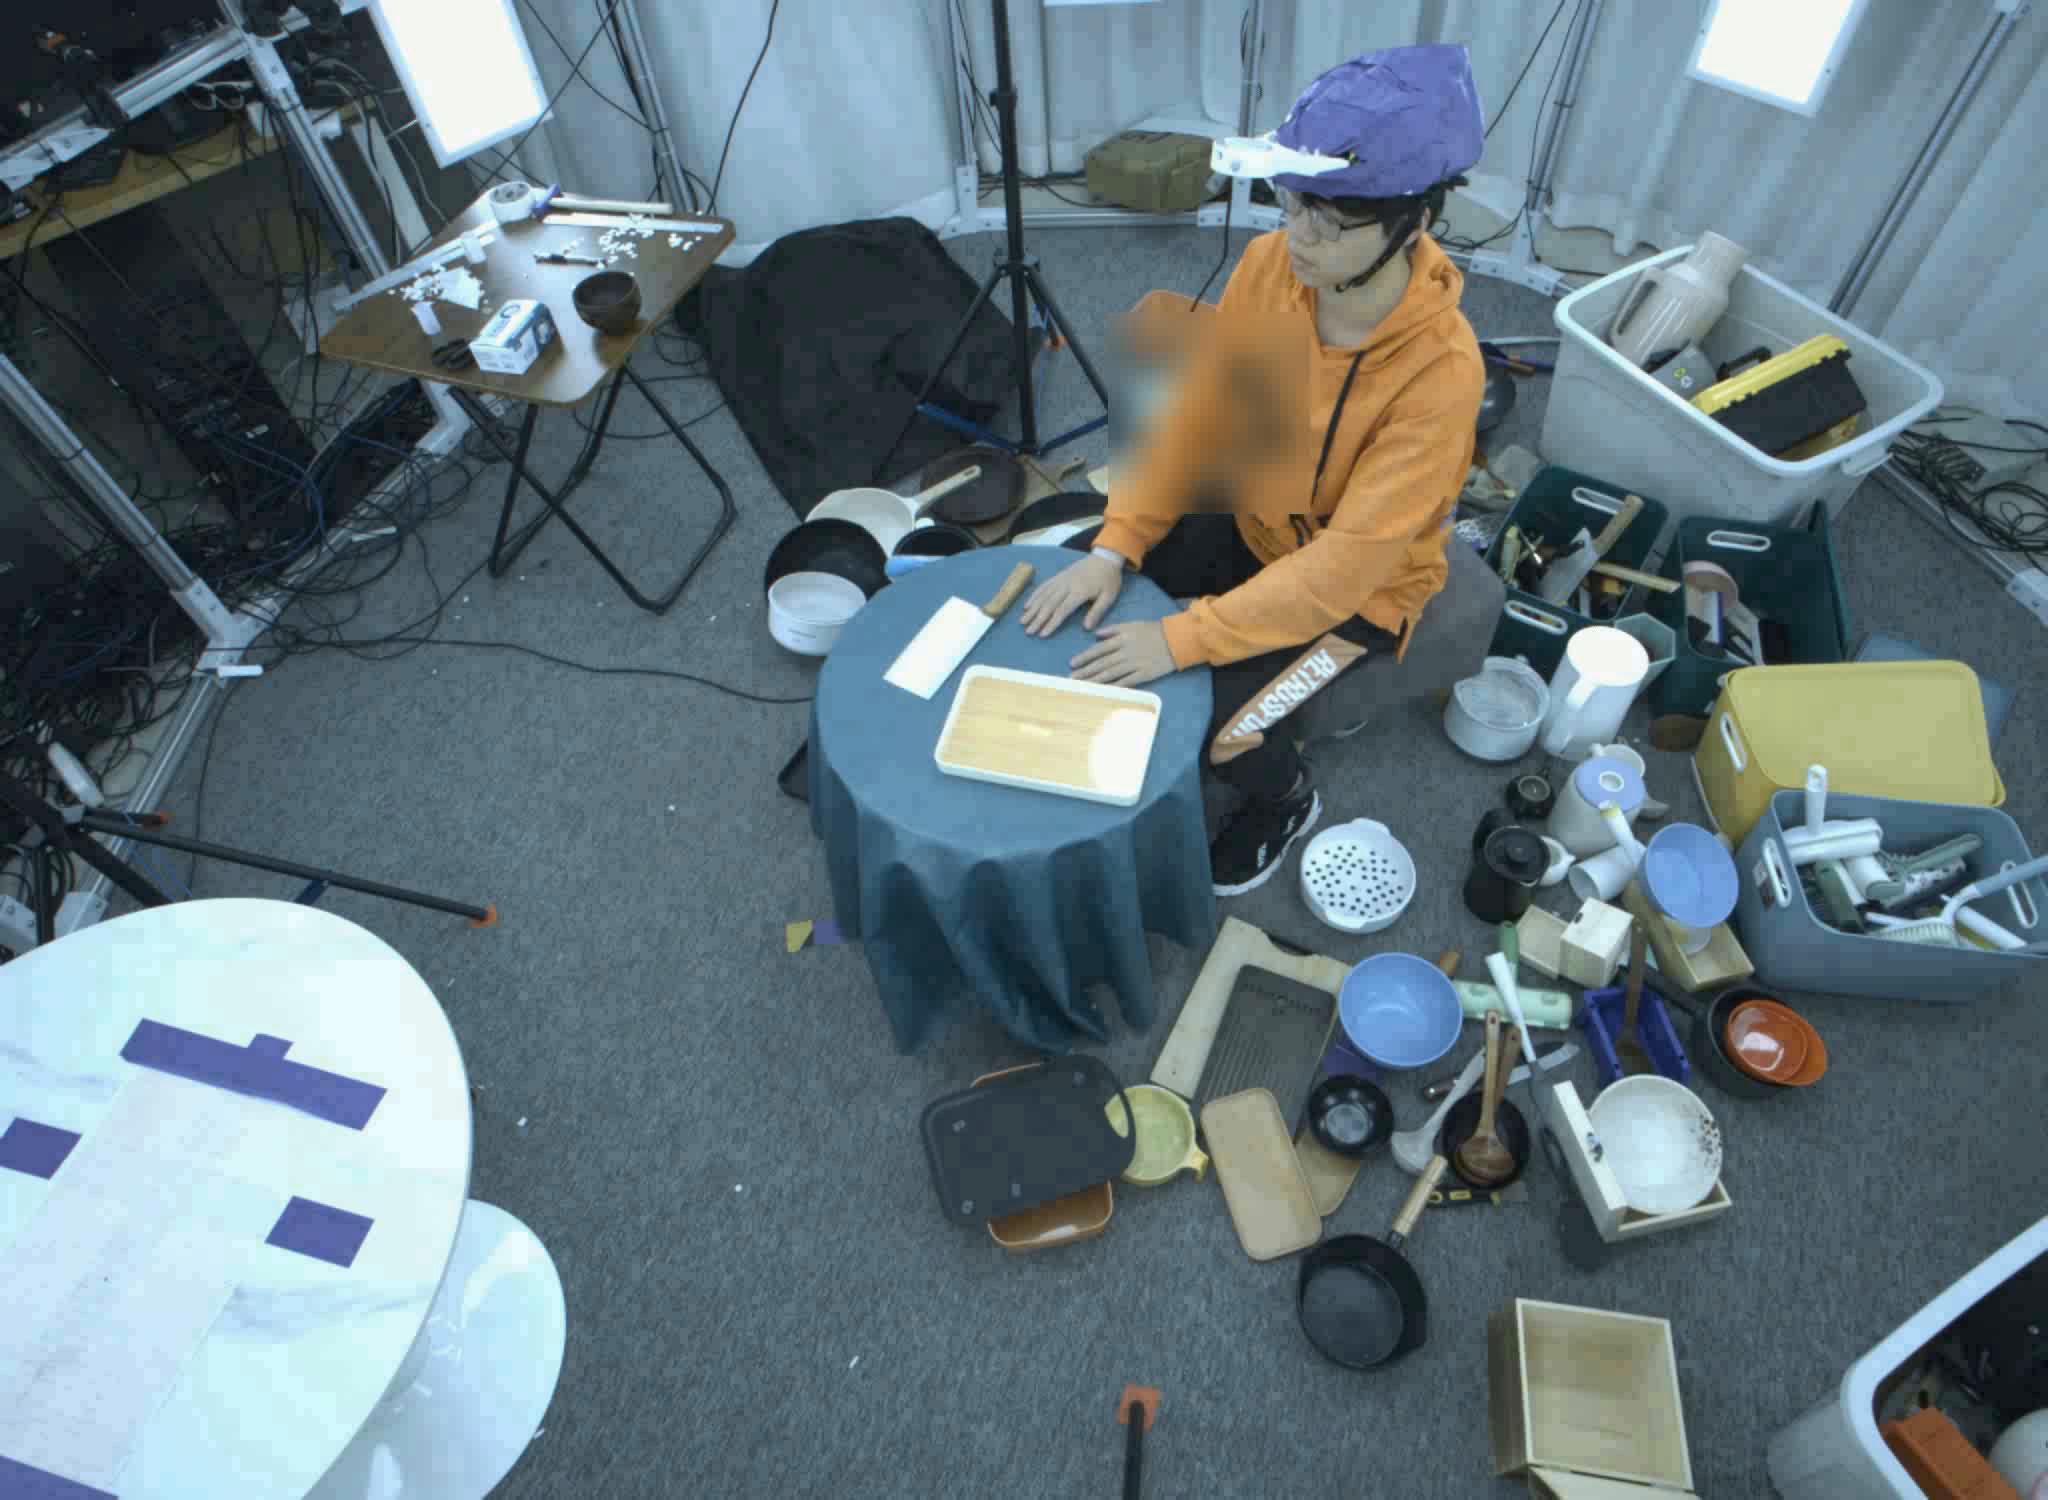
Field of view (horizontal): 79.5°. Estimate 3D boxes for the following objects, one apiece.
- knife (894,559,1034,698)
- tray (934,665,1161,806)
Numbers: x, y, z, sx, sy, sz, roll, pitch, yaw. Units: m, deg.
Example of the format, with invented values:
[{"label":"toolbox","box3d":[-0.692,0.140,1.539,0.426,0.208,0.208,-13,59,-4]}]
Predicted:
[{"label":"knife","box3d":[-0.097,-0.202,1.924,0.091,0.021,0.307,26,62,21]},{"label":"tray","box3d":[0.036,-0.025,1.786,0.298,0.028,0.191,10,56,10]}]
